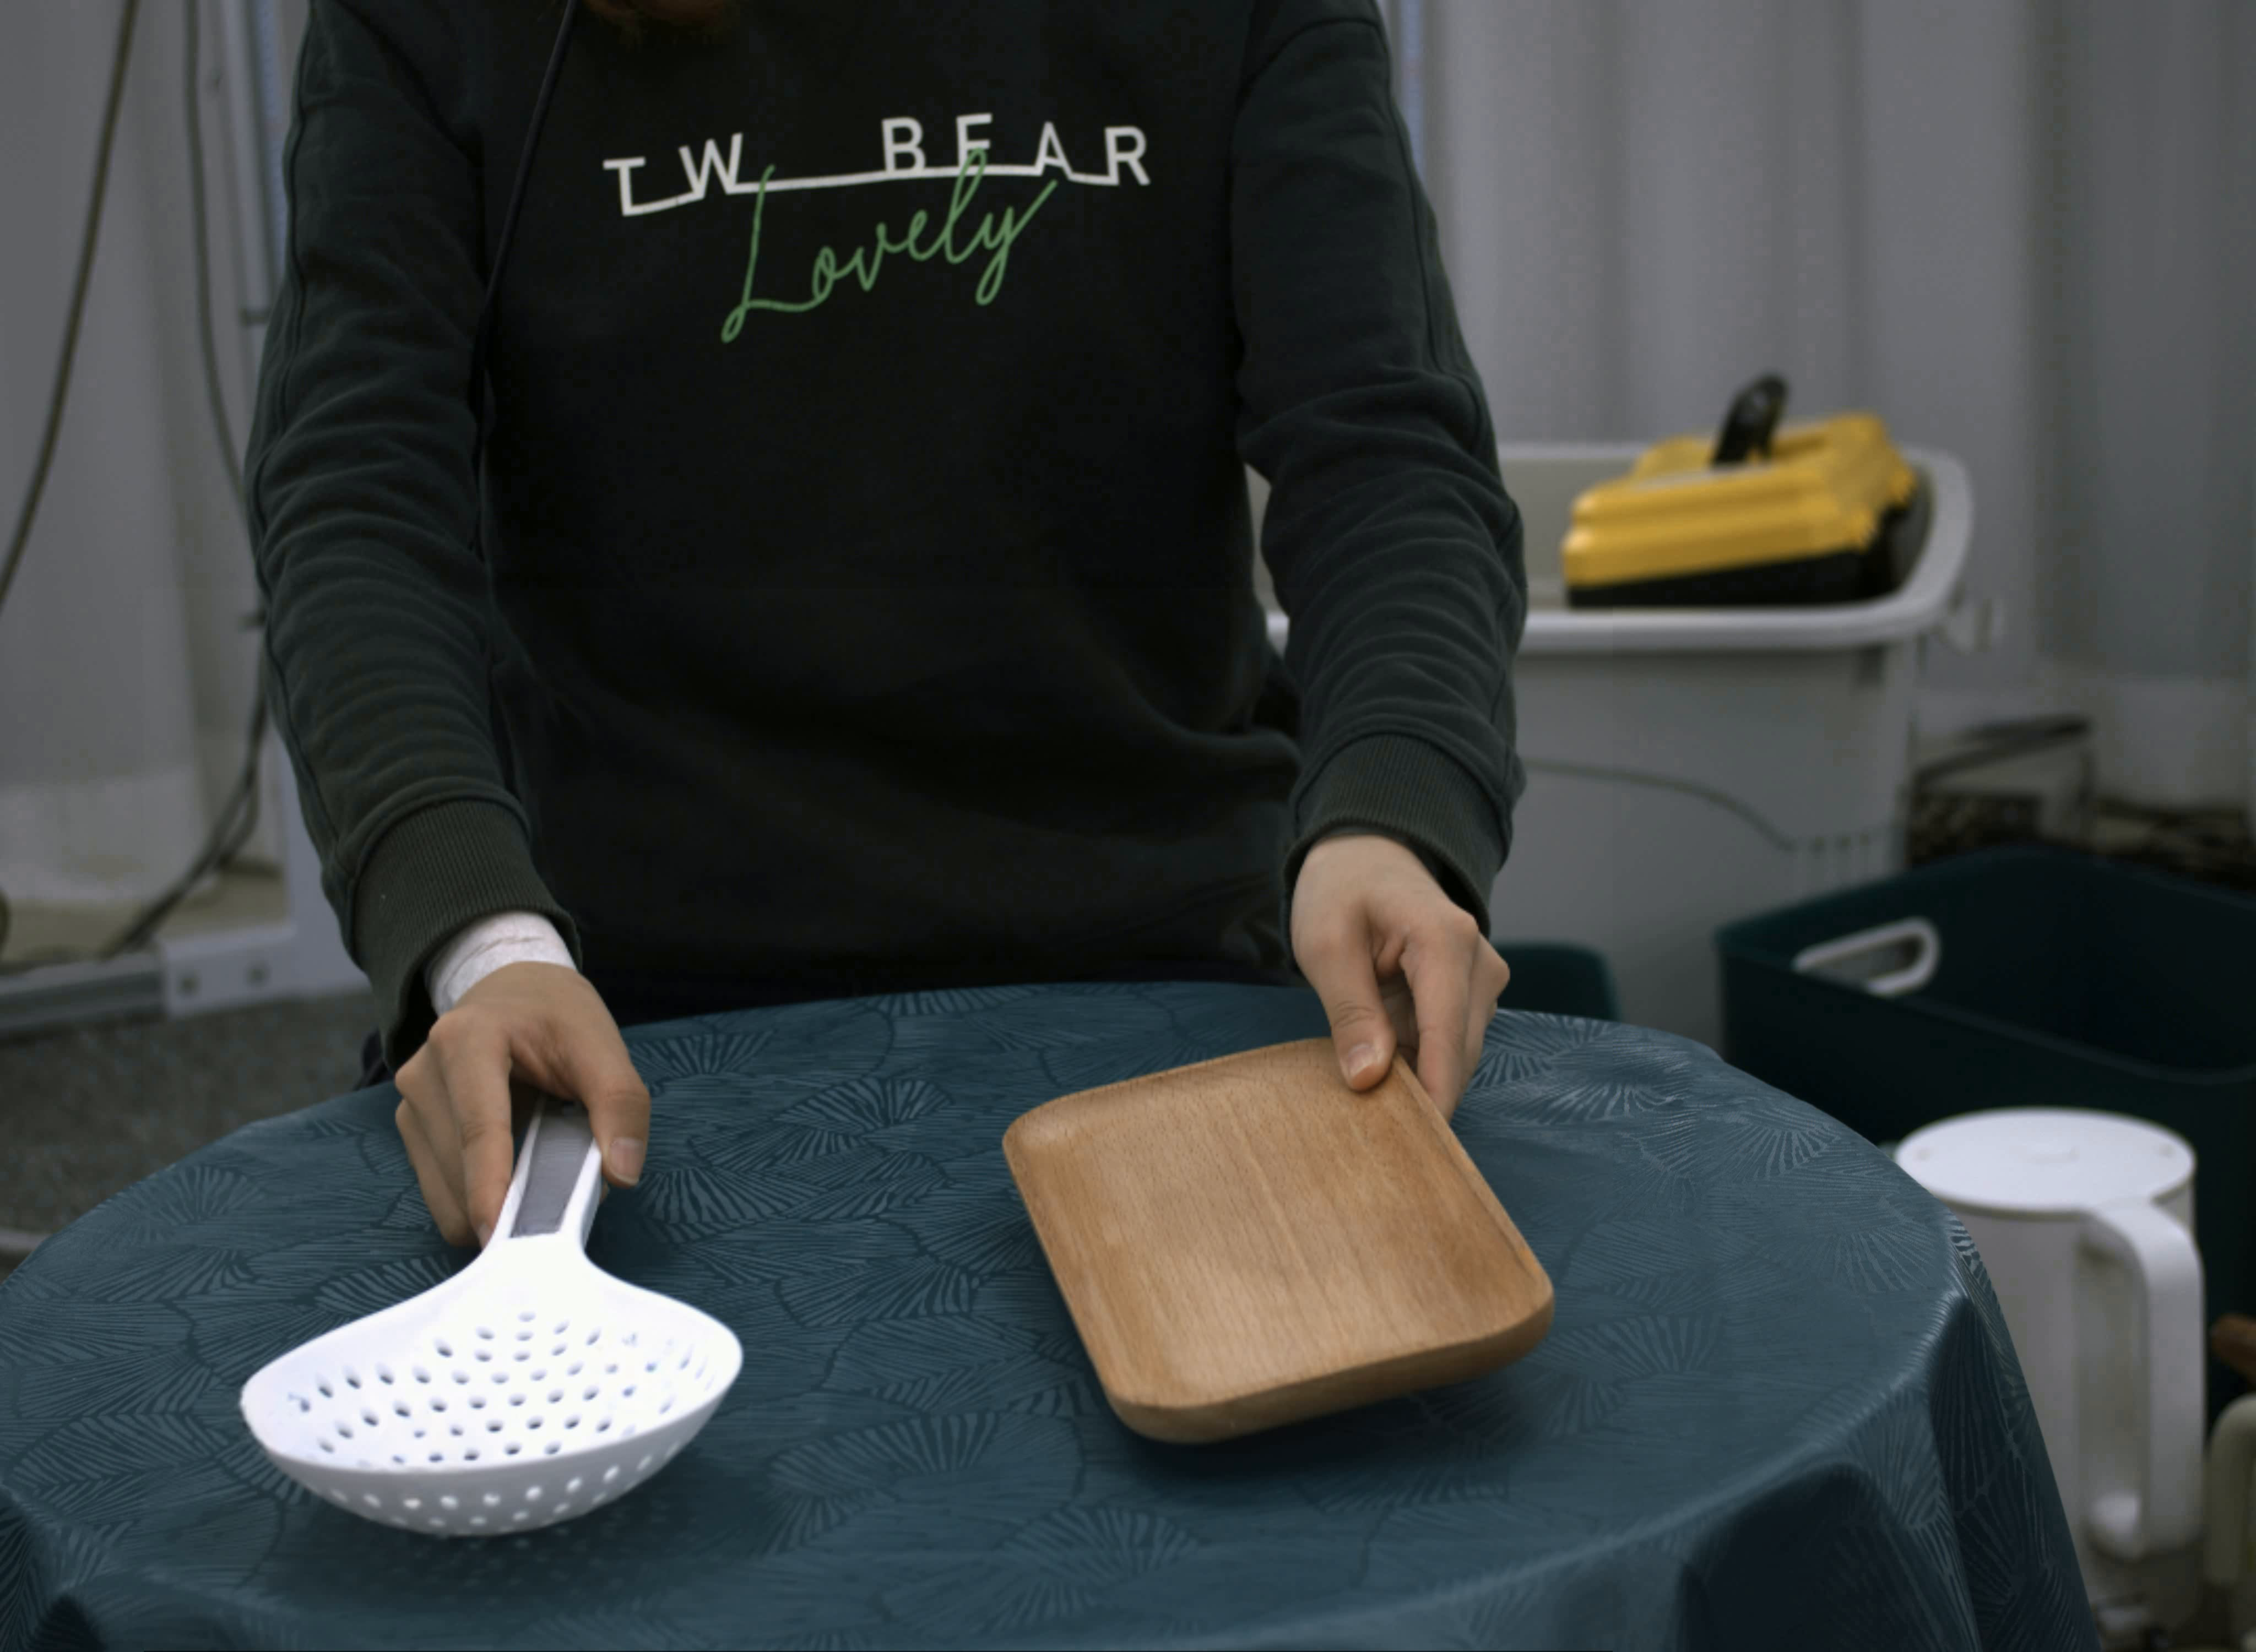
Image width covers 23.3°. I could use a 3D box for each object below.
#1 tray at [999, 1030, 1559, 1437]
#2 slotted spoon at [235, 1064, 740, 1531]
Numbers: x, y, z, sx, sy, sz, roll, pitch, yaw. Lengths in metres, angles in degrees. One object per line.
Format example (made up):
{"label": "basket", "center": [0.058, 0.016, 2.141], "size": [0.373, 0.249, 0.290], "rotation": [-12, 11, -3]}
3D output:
{"label": "tray", "center": [0.040, 0.115, 1.588], "size": [0.130, 0.023, 0.253], "rotation": [-11, 17, -6]}
{"label": "slotted spoon", "center": [-0.171, 0.127, 1.574], "size": [0.135, 0.045, 0.353], "rotation": [-3, 19, 1]}
